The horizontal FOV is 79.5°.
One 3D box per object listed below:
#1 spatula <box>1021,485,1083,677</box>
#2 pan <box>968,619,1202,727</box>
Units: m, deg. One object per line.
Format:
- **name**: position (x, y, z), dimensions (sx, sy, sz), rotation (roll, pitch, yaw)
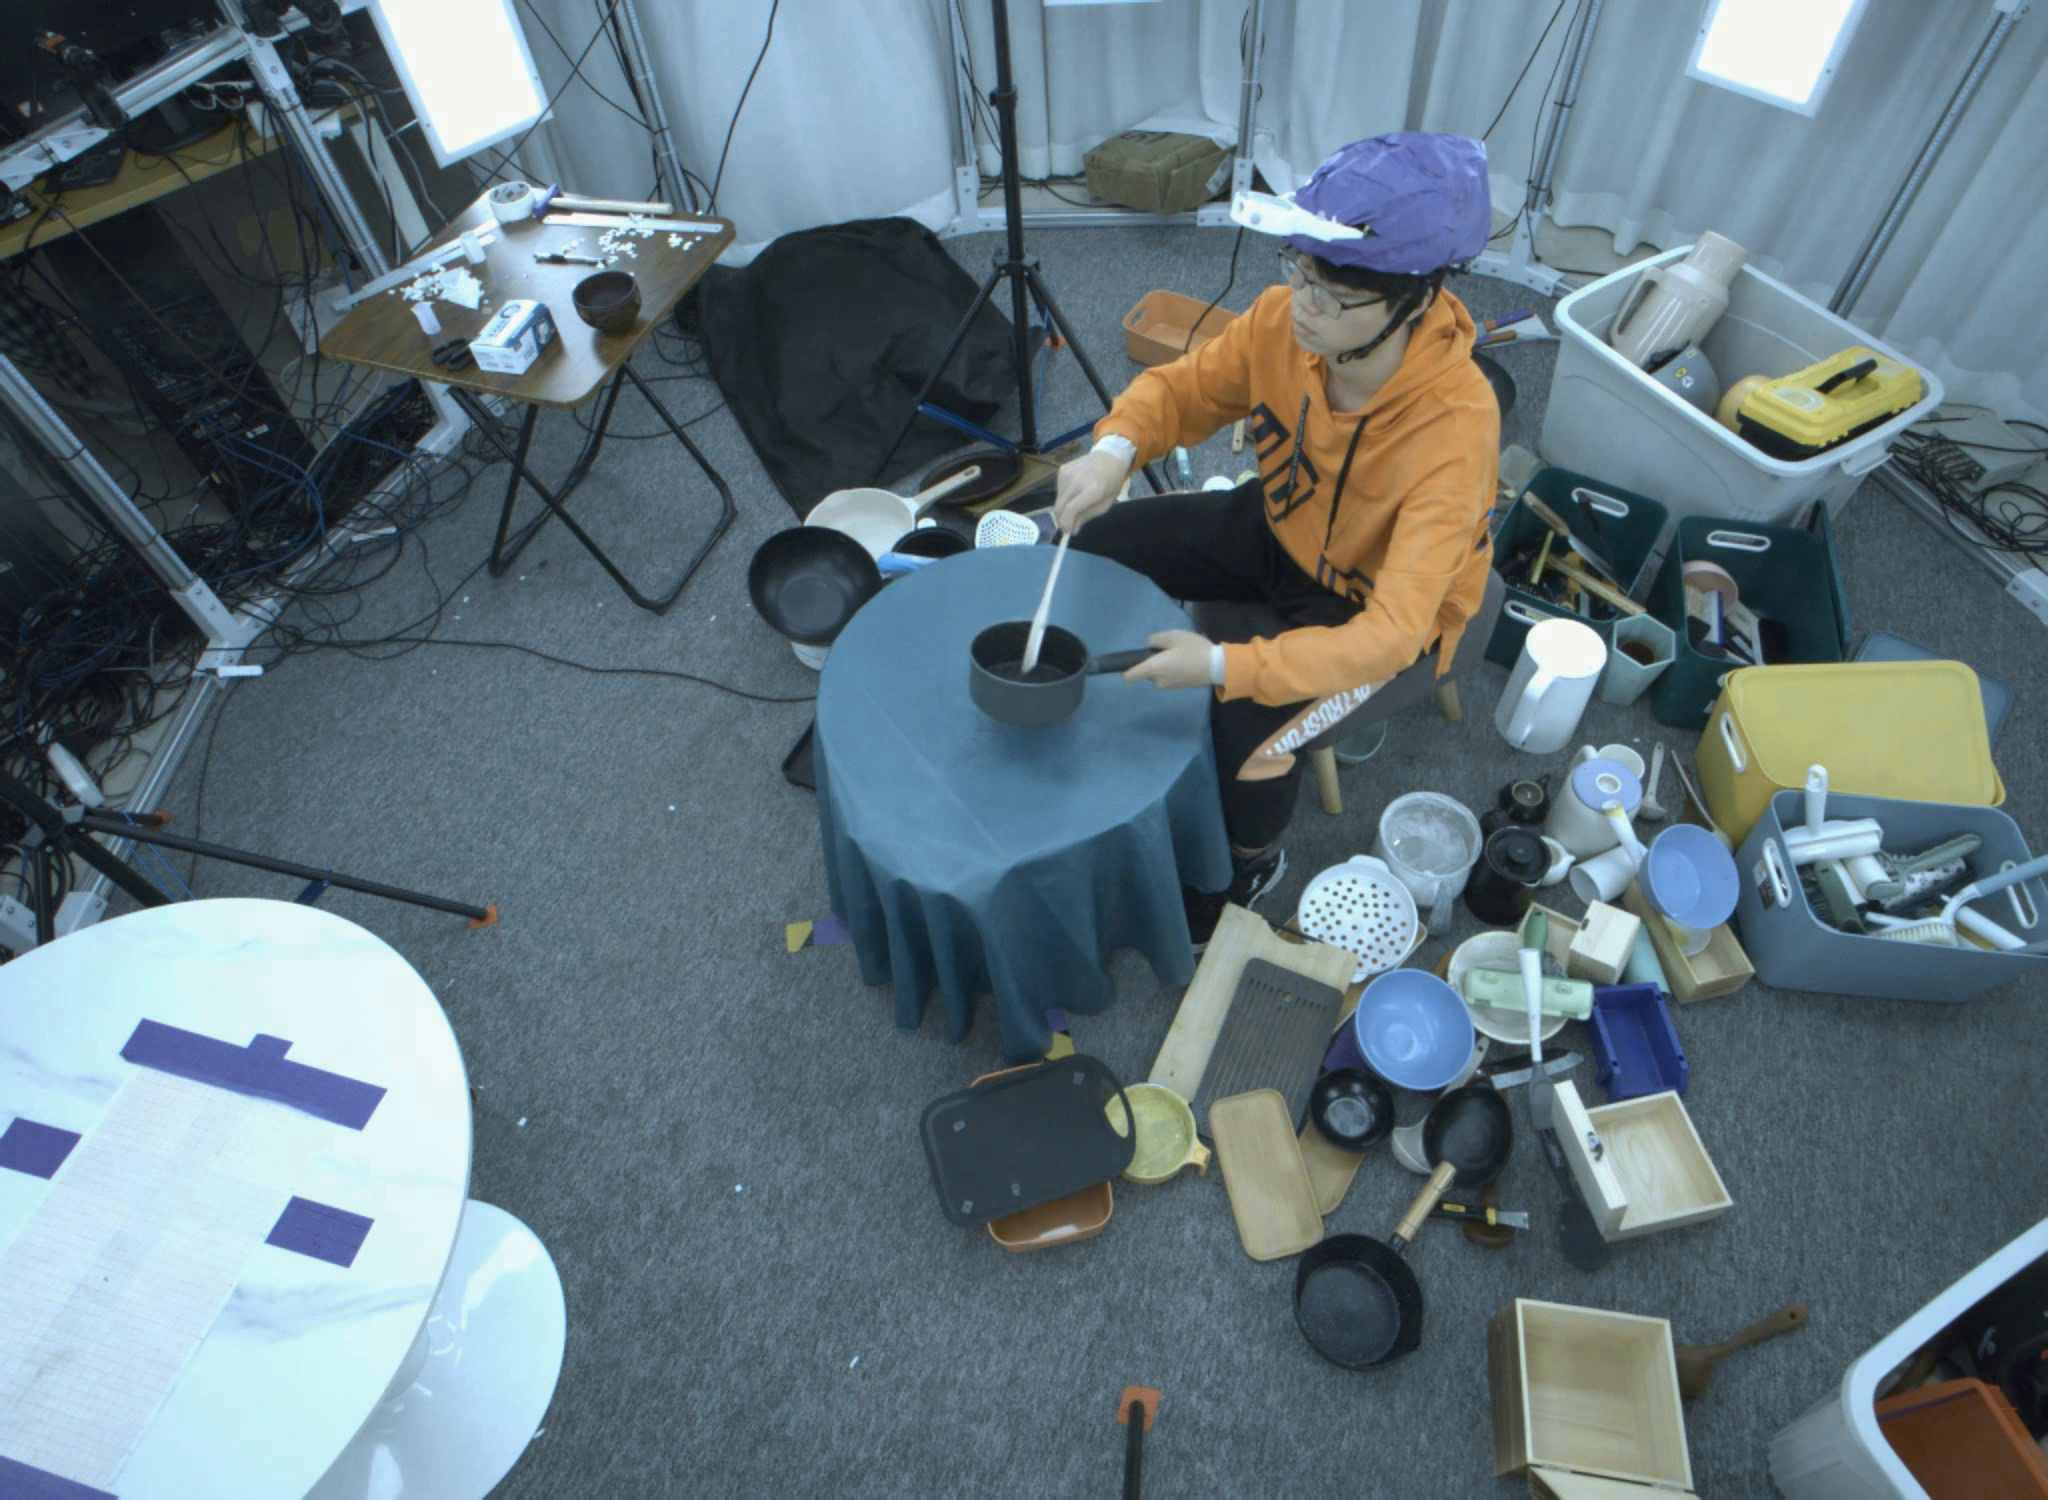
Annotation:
- **spatula**: position (0.041, -0.246, 1.747), dimensions (0.011, 0.072, 0.292), rotation (18, 80, -9)
- **pan**: position (0.085, -0.109, 1.741), dimensions (0.330, 0.087, 0.170), rotation (1, 40, -5)
